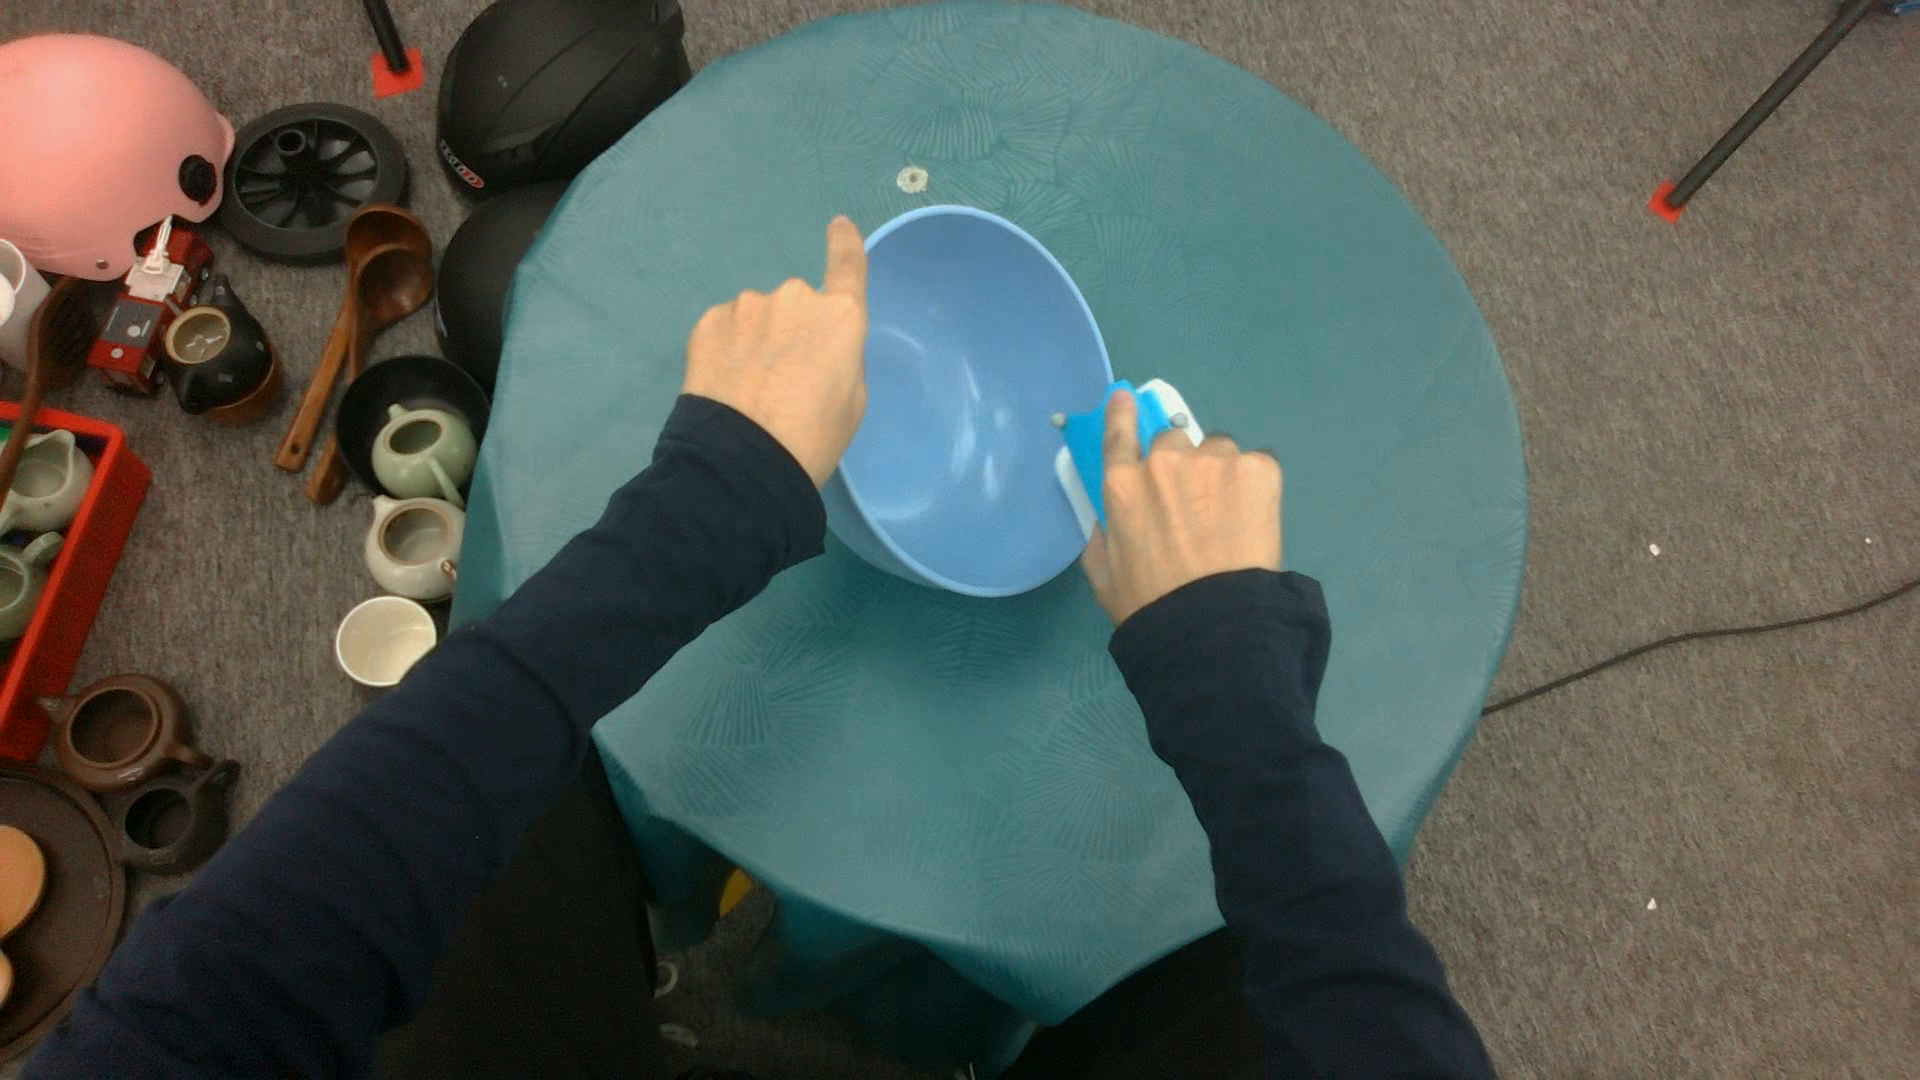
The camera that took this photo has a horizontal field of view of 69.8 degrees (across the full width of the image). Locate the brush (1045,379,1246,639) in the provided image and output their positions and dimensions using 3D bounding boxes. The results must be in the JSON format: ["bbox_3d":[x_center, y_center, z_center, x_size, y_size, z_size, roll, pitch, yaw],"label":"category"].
[{"bbox_3d":[0.083,-0.023,0.694,0.083,0.056,0.144,-37,42,20],"label":"brush"}]

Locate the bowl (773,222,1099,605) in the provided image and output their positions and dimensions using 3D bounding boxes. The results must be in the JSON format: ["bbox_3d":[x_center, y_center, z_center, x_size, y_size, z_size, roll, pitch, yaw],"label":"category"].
[{"bbox_3d":[-0.023,-0.058,0.728,0.197,0.095,0.197,10,75,-39],"label":"bowl"}]
